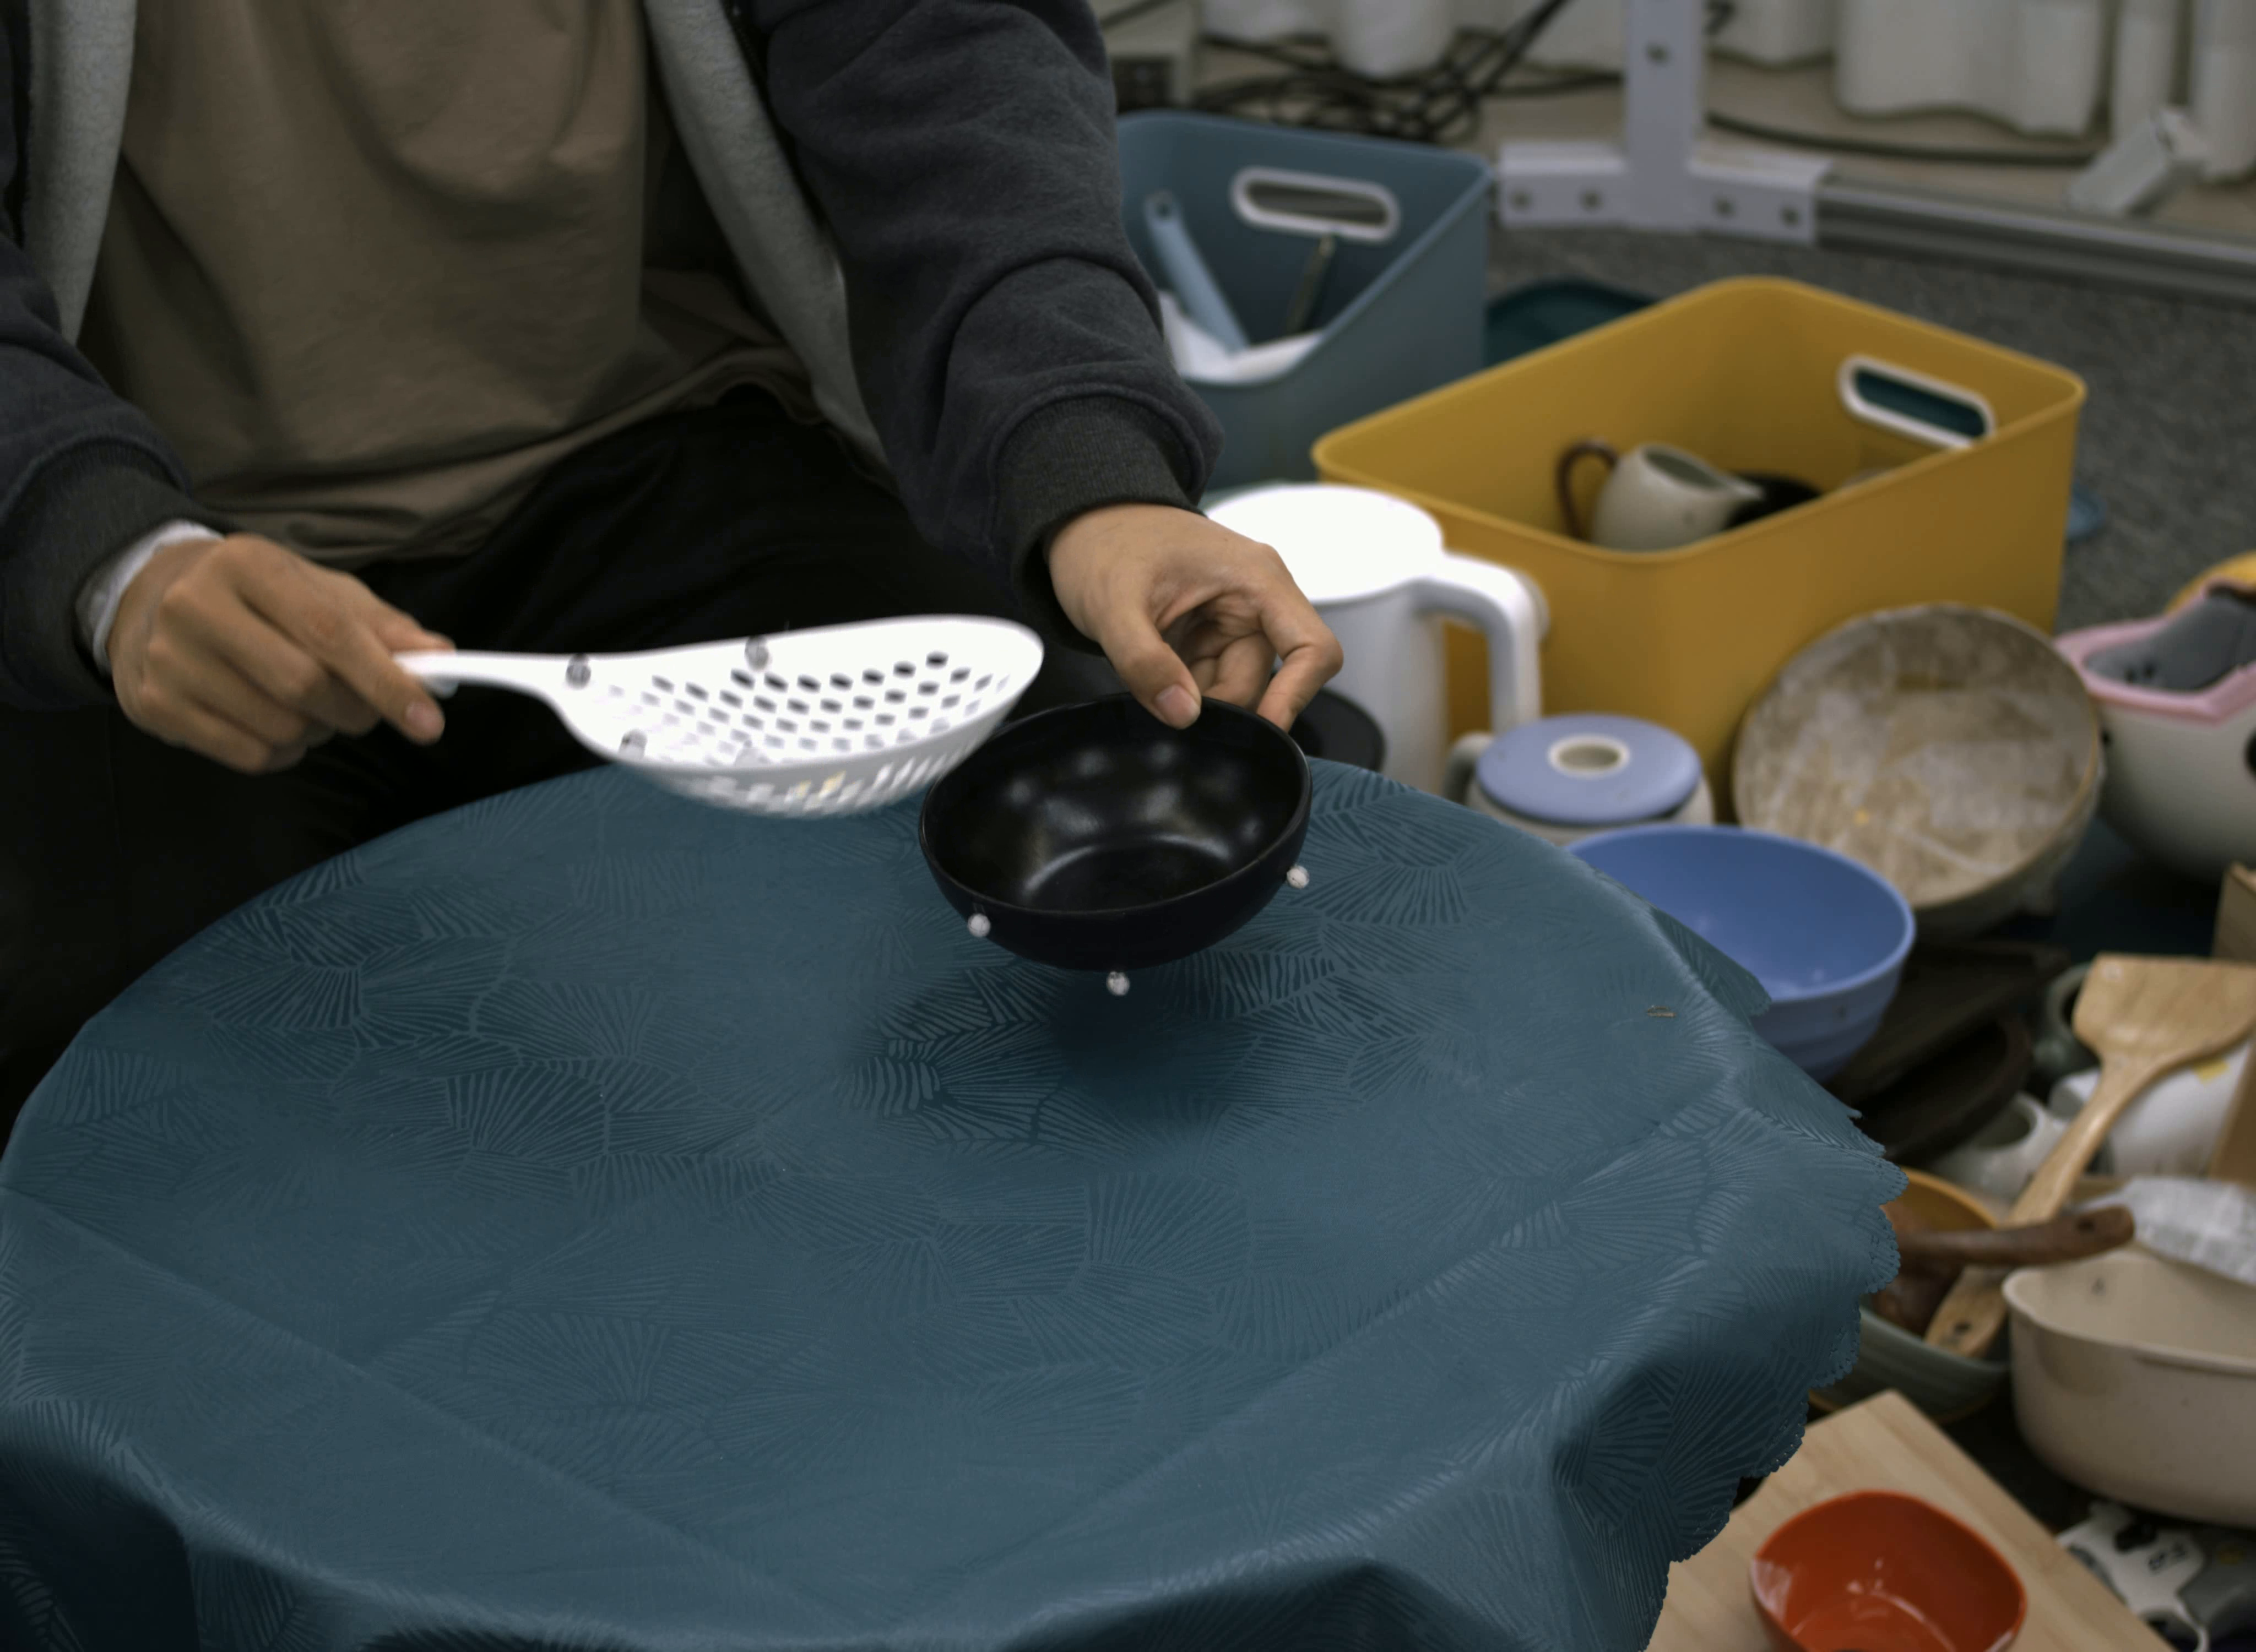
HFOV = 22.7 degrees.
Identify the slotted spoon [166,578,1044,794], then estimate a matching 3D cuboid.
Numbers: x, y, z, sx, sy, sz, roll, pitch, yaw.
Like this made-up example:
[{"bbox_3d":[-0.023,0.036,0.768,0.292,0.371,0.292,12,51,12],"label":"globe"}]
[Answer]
[{"bbox_3d":[-0.183,-0.043,1.861,0.345,0.050,0.139,5,26,31],"label":"slotted spoon"}]
